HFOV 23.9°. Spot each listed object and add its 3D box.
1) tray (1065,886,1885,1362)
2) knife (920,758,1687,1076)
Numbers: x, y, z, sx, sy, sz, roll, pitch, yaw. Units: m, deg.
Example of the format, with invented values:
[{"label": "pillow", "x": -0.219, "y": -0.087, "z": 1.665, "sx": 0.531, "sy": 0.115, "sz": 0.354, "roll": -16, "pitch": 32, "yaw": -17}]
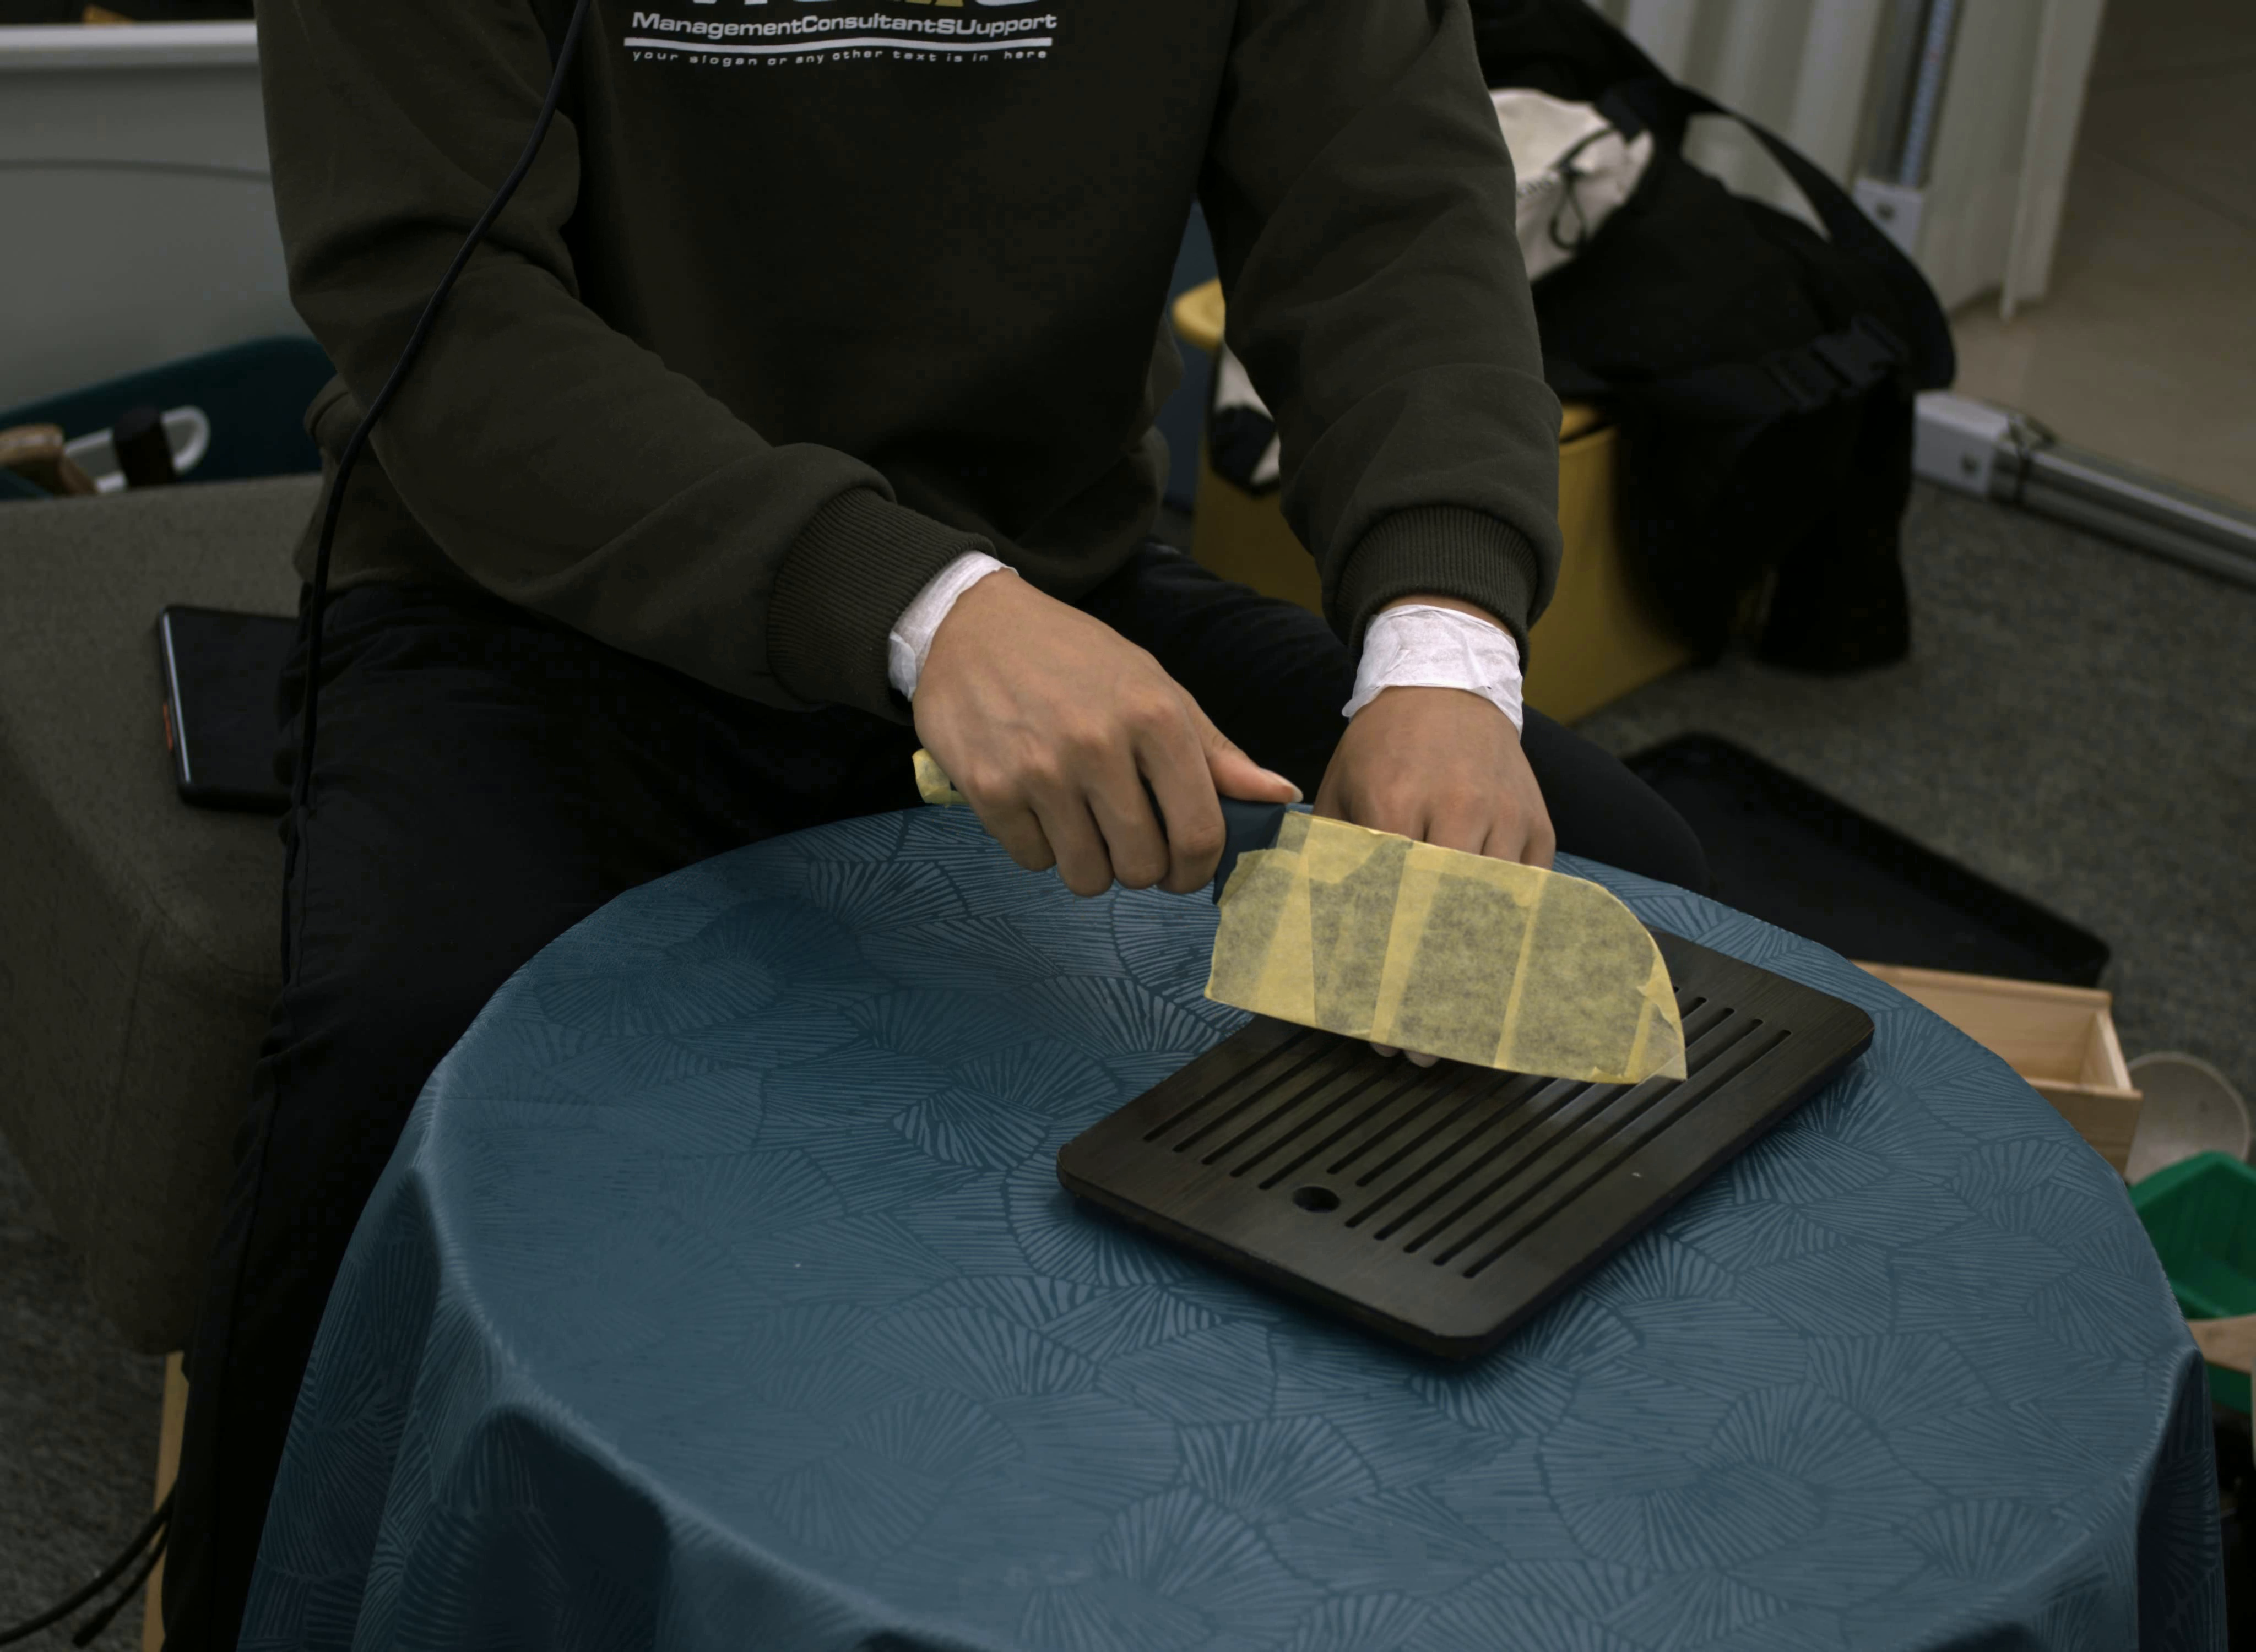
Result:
[{"label": "tray", "x": 0.126, "y": 0.099, "z": 1.863, "sx": 0.171, "sy": 0.018, "sz": 0.305, "roll": 21, "pitch": 30, "yaw": 28}, {"label": "knife", "x": 0.059, "y": 0.030, "z": 1.877, "sx": 0.290, "sy": 0.081, "sz": 0.027, "roll": 16, "pitch": -1, "yaw": 13}]
